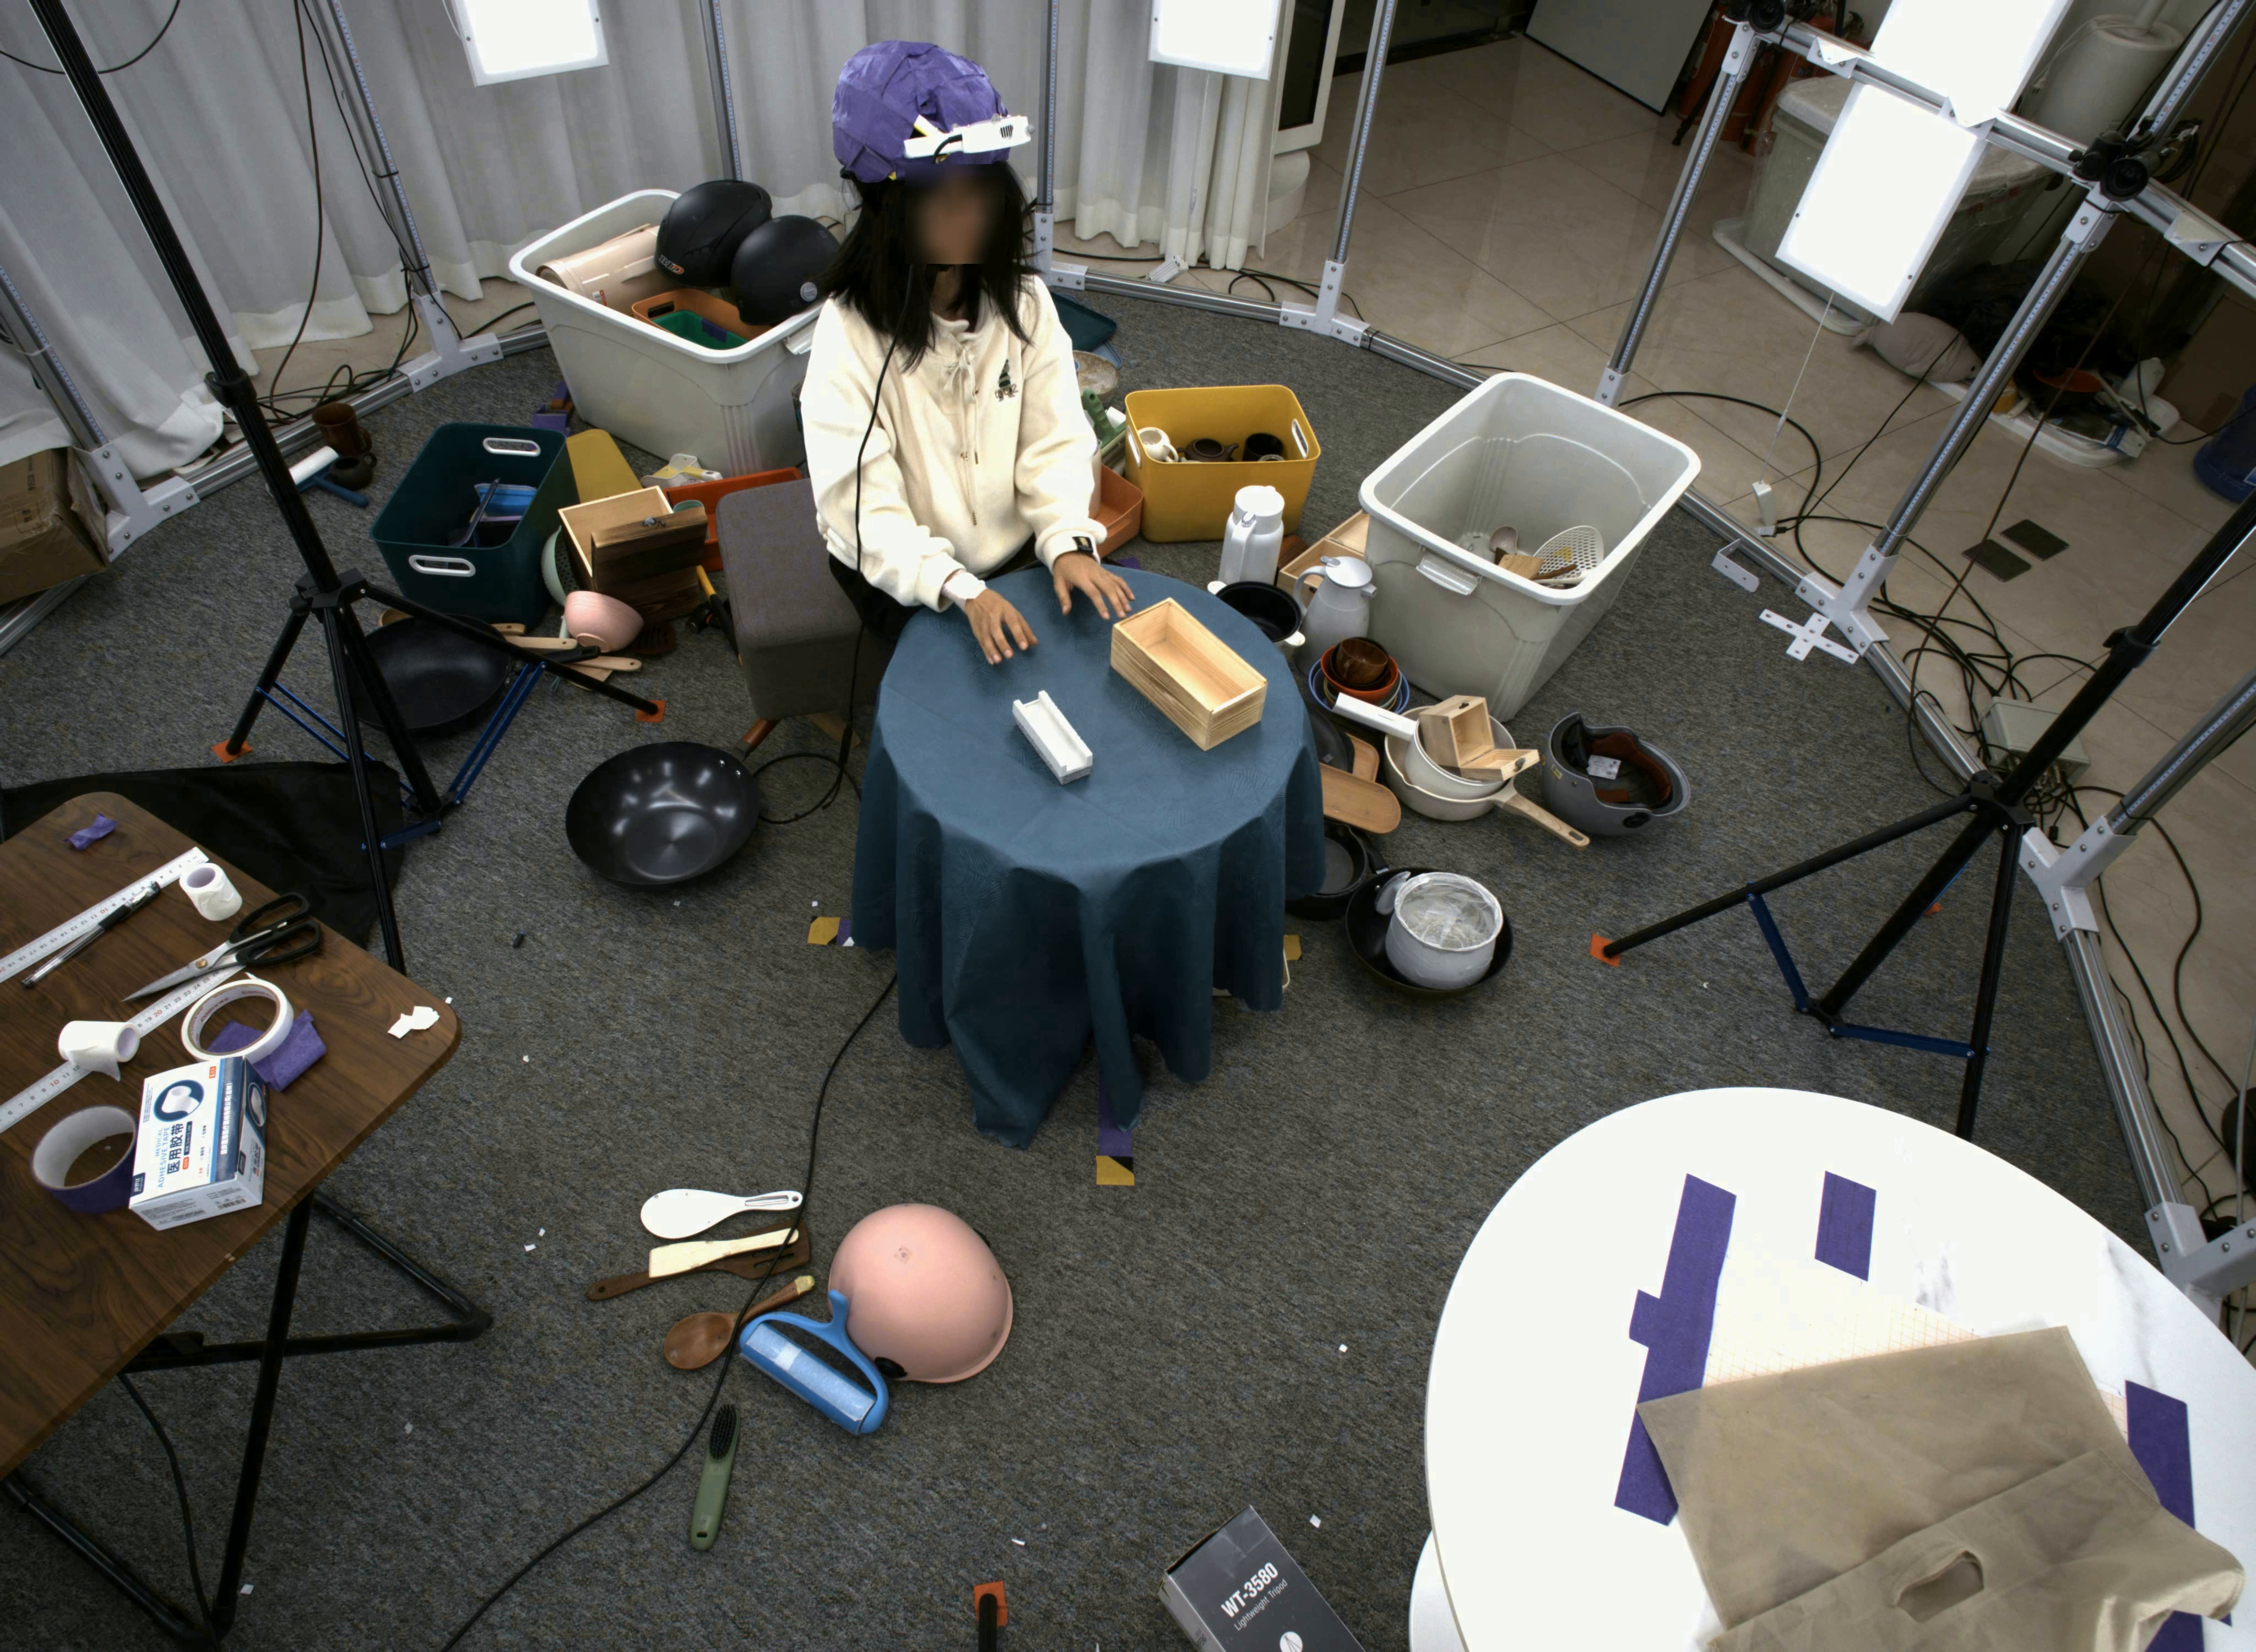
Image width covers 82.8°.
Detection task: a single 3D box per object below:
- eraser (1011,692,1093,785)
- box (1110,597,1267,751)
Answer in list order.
[{"bbox_3d":[-0.104,-0.119,1.736,0.050,0.045,0.137,-25,57,-22],"label":"eraser"},{"bbox_3d":[0.082,-0.218,1.813,0.108,0.078,0.215,-29,58,-26],"label":"box"}]
